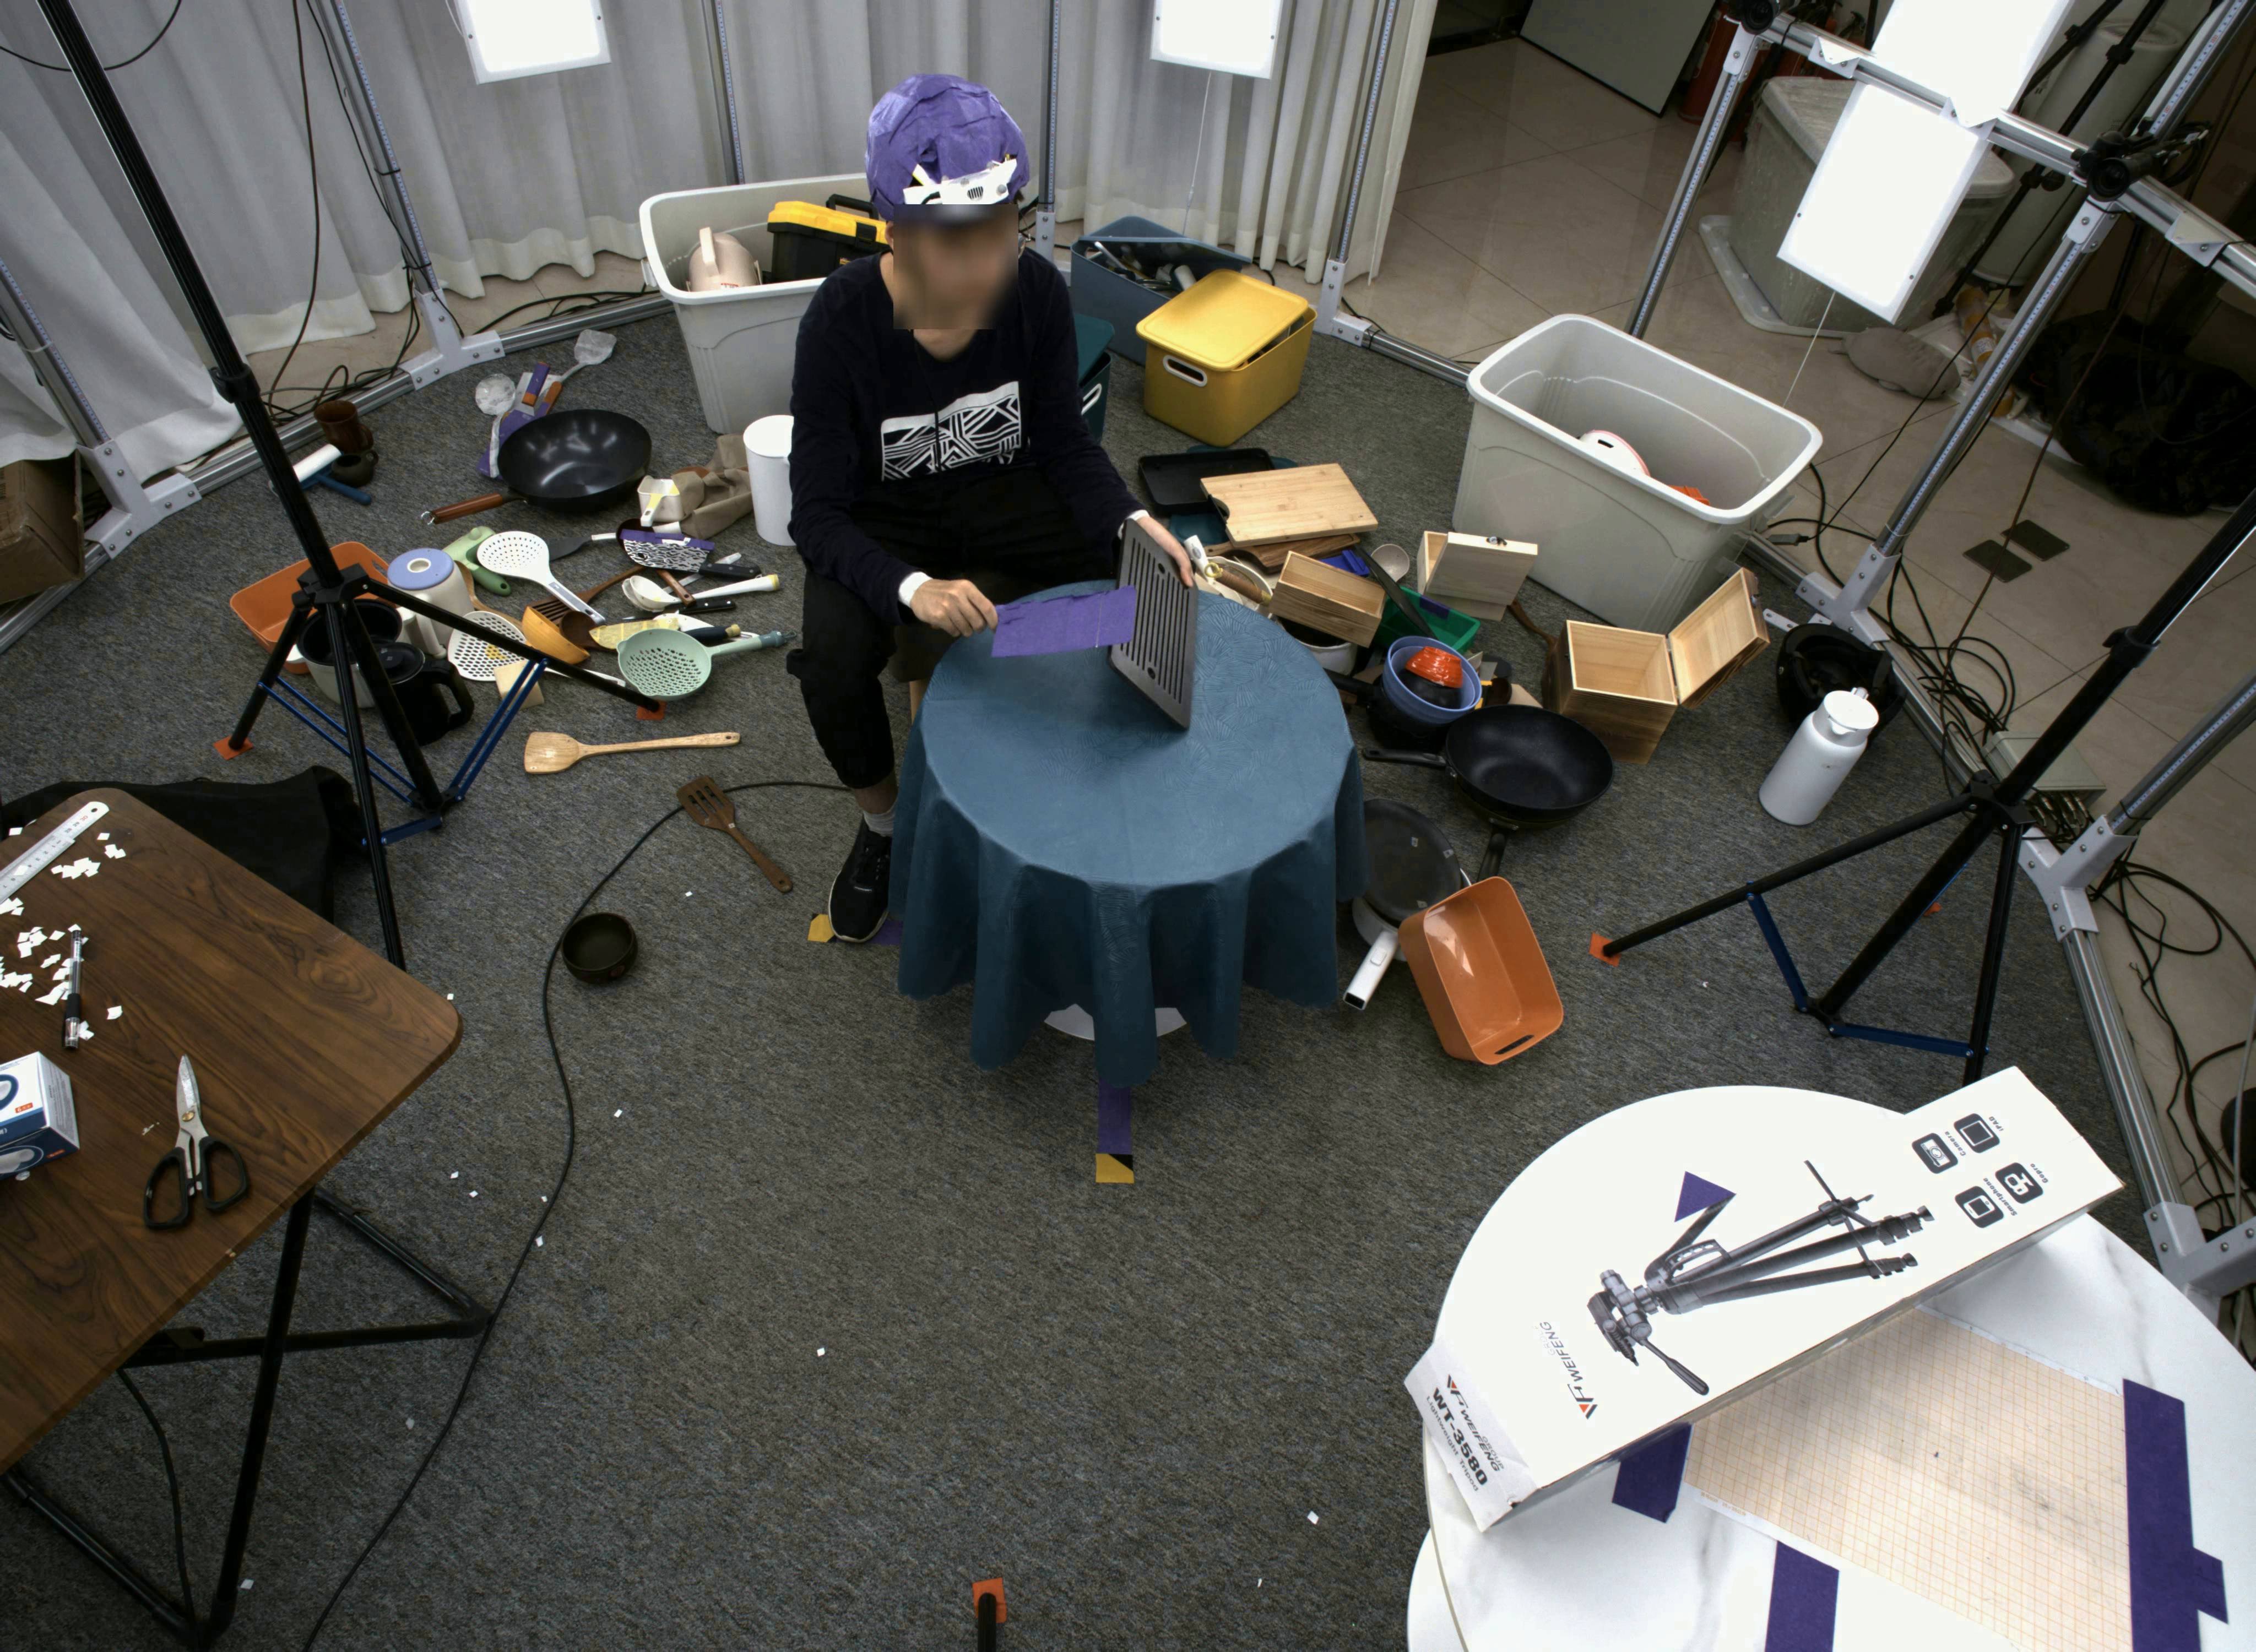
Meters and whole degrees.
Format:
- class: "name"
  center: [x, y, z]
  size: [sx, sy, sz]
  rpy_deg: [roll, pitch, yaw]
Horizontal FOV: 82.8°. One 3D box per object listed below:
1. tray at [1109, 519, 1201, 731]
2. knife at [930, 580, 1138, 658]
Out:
- class: "tray"
  center: [0.041, -0.289, 1.838]
  size: [0.018, 0.167, 0.313]
  rpy_deg: [-27, 41, 33]
- class: "knife"
  center: [-0.136, -0.276, 1.766]
  size: [0.315, 0.031, 0.106]
  rpy_deg: [-5, 59, 23]
